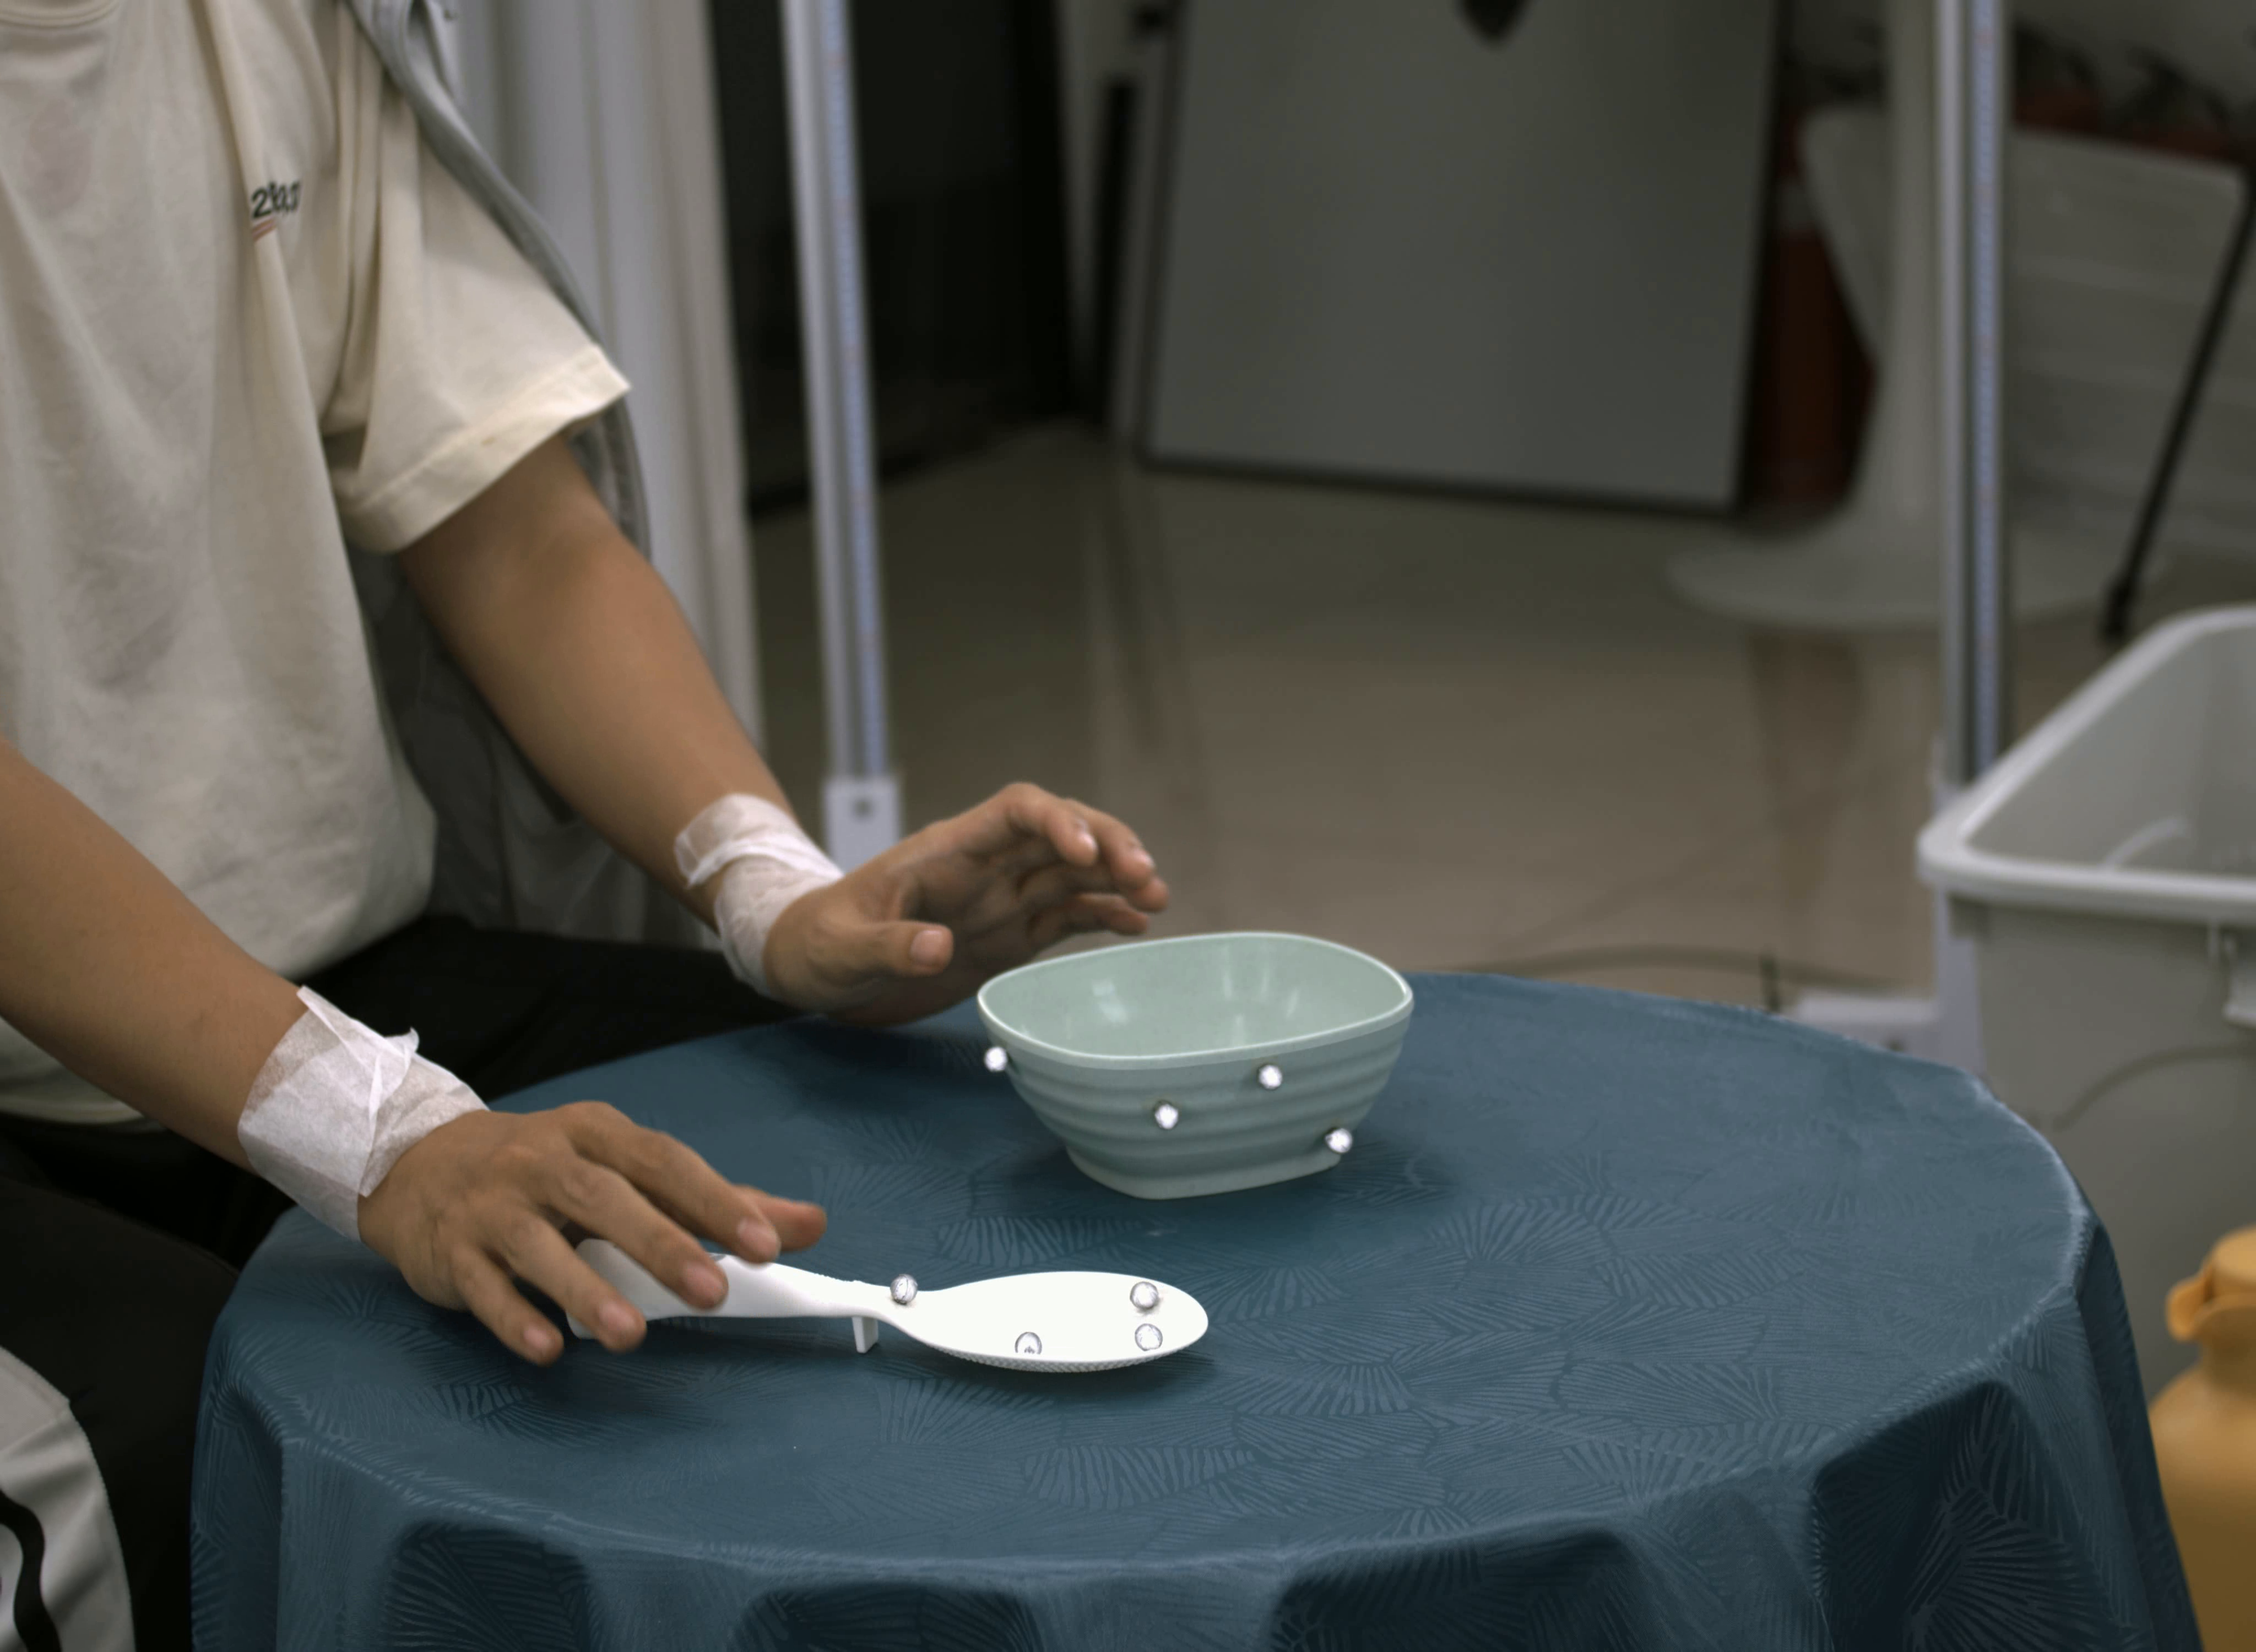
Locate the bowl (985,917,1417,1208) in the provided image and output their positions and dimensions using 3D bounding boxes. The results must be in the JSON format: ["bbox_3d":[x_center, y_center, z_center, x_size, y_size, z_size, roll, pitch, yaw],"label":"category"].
[{"bbox_3d":[0.026,0.082,1.799,0.149,0.059,0.152,-5,17,1],"label":"bowl"}]

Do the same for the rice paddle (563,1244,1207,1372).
[{"bbox_3d":[-0.073,0.145,1.635,0.205,0.030,0.068,1,16,20],"label":"rice paddle"}]
